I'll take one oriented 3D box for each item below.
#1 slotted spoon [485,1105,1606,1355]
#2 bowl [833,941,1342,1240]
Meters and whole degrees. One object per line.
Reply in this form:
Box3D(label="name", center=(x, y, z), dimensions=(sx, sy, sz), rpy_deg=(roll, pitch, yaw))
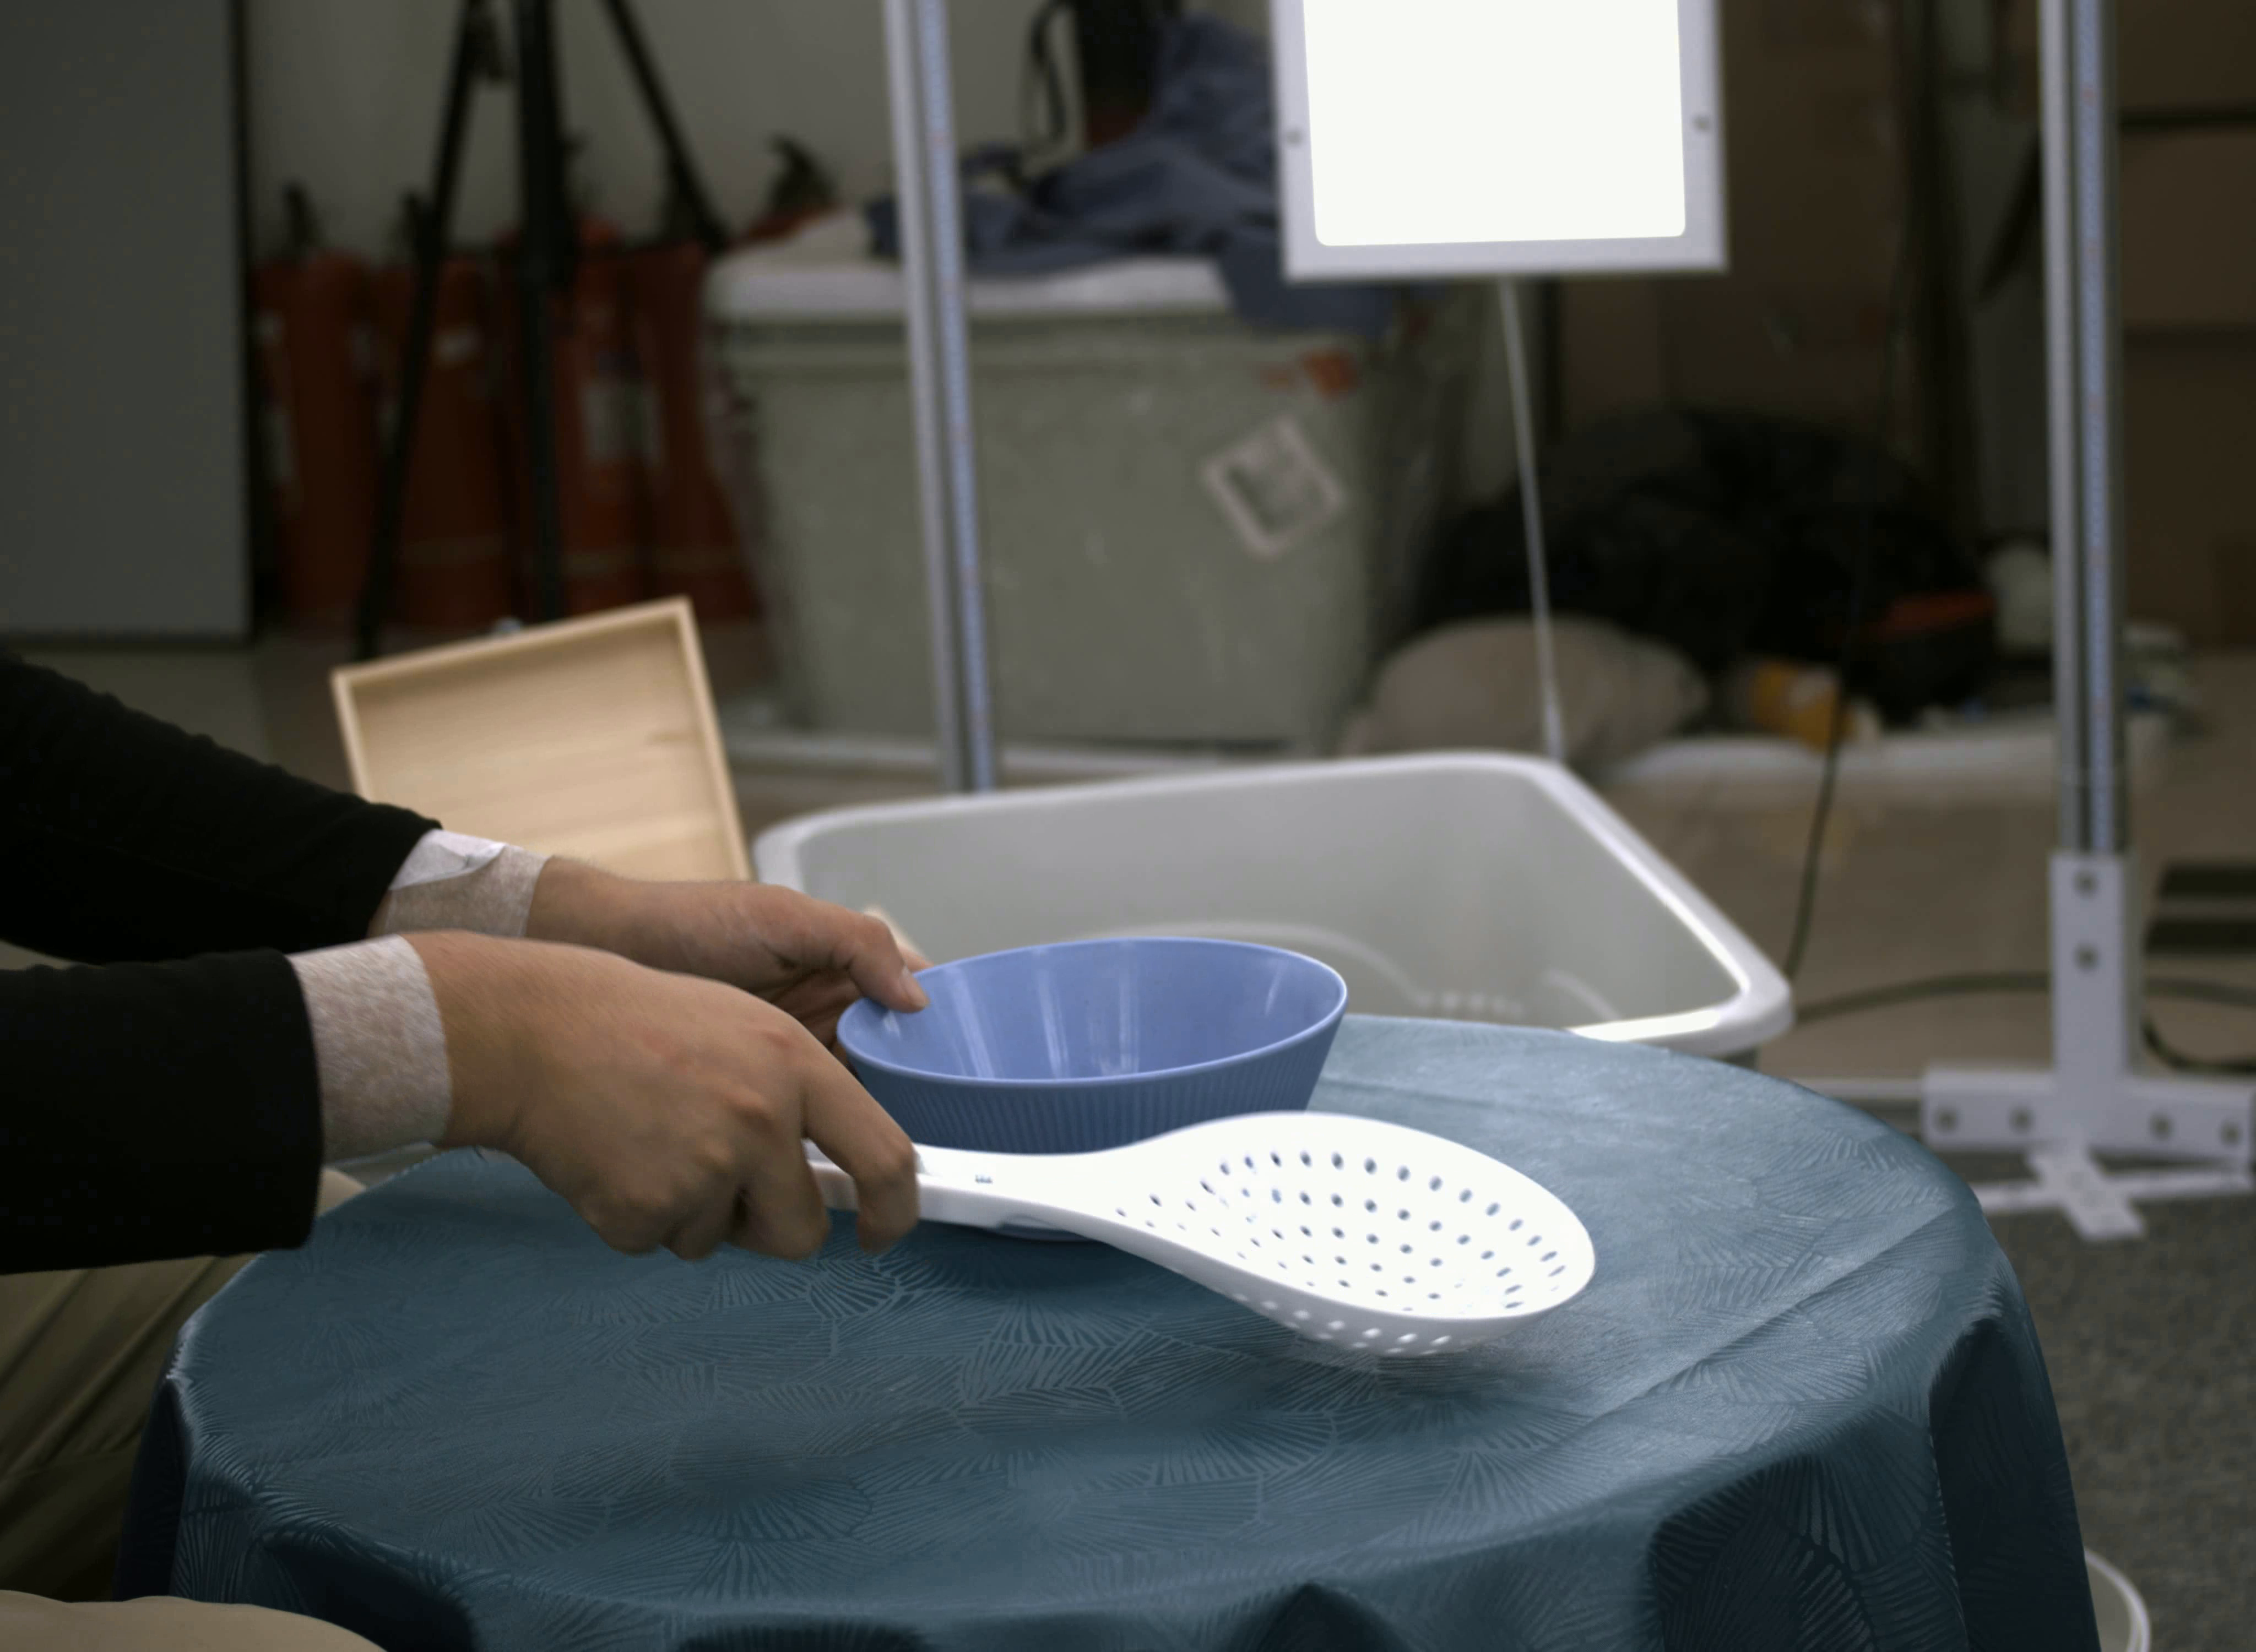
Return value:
Box3D(label="slotted spoon", center=(-0.024, 0.115, 1.692), dimensions=(0.346, 0.046, 0.136), rpy_deg=(11, 20, -11))
Box3D(label="bowl", center=(-0.011, 0.093, 1.892), dimensions=(0.175, 0.070, 0.176), rpy_deg=(-6, 14, 0))
